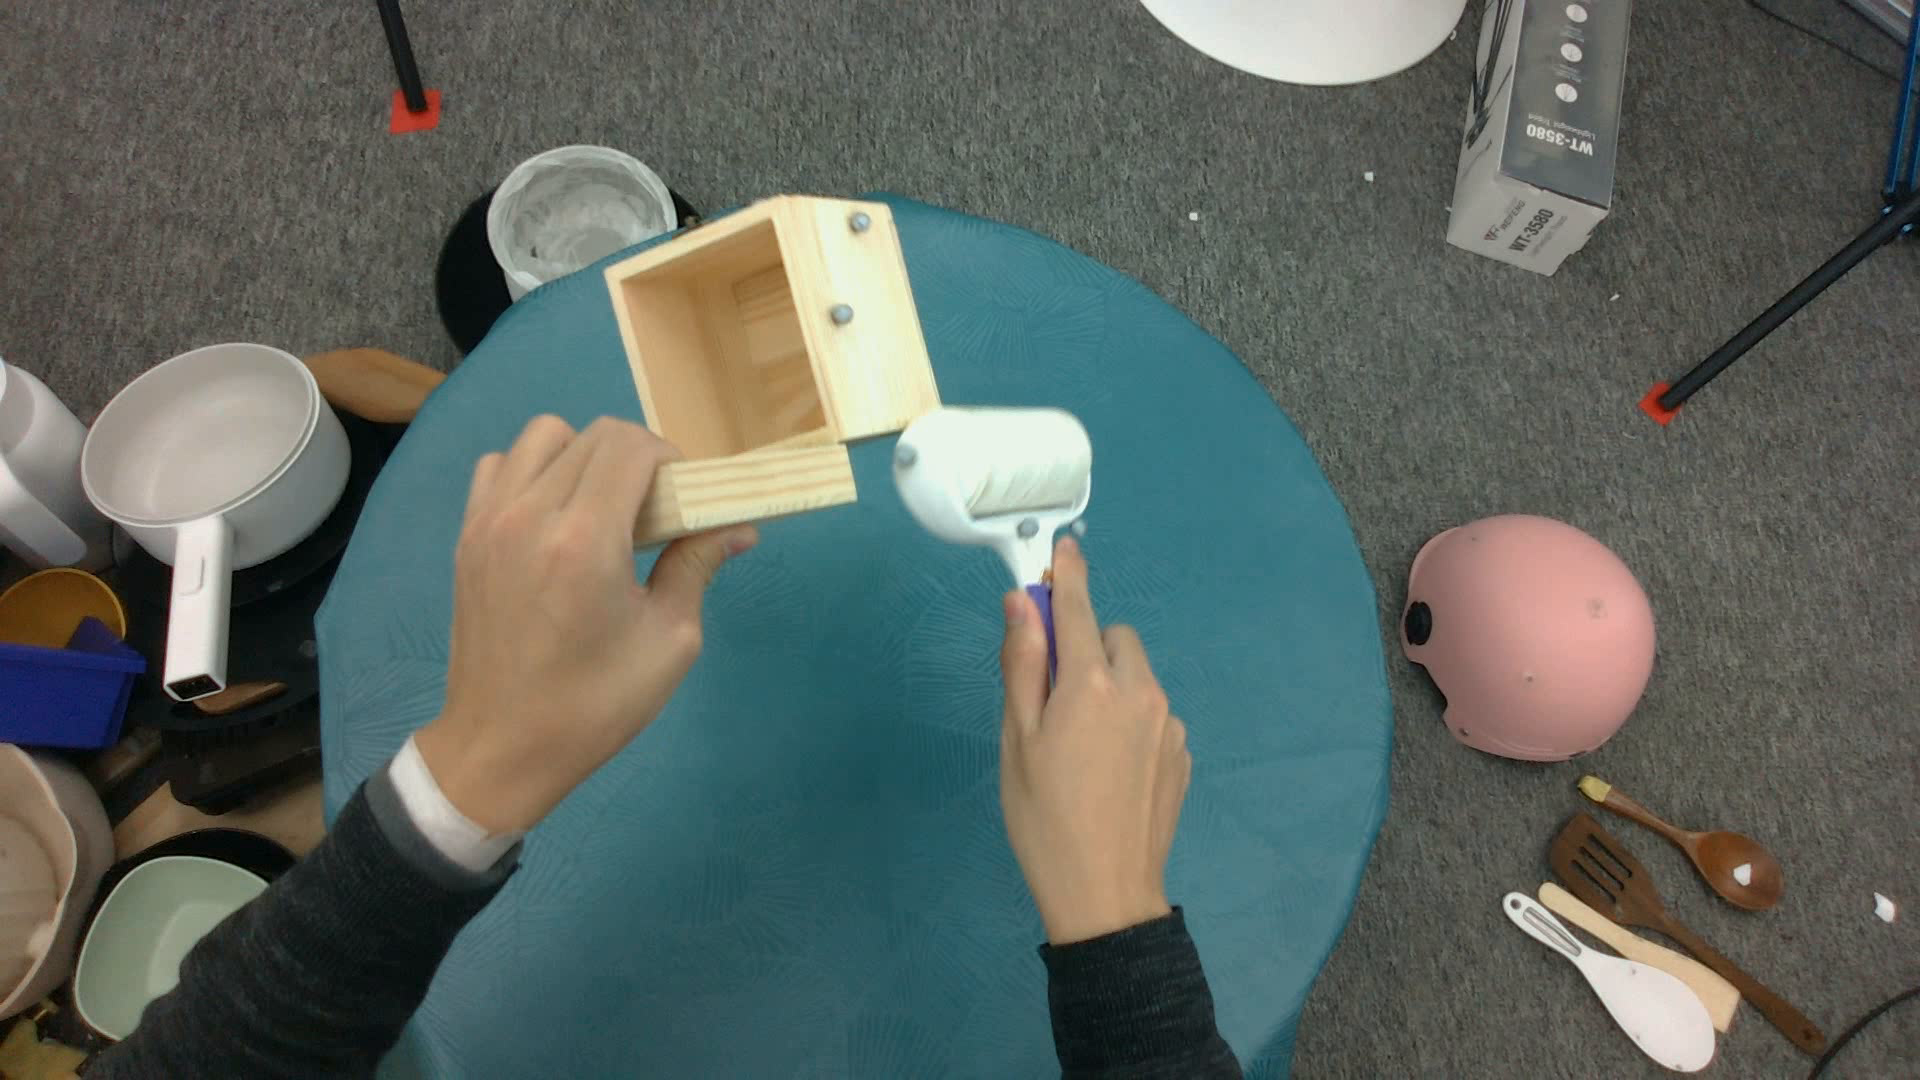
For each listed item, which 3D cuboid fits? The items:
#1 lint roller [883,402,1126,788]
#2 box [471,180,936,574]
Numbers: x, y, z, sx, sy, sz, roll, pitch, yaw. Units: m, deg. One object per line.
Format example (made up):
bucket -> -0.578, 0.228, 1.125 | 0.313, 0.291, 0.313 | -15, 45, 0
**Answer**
lint roller -> 0.040, 0.019, 0.604 | 0.133, 0.050, 0.181 | -5, 65, -59
box -> -0.108, -0.072, 0.559 | 0.185, 0.102, 0.134 | -20, 94, -57
